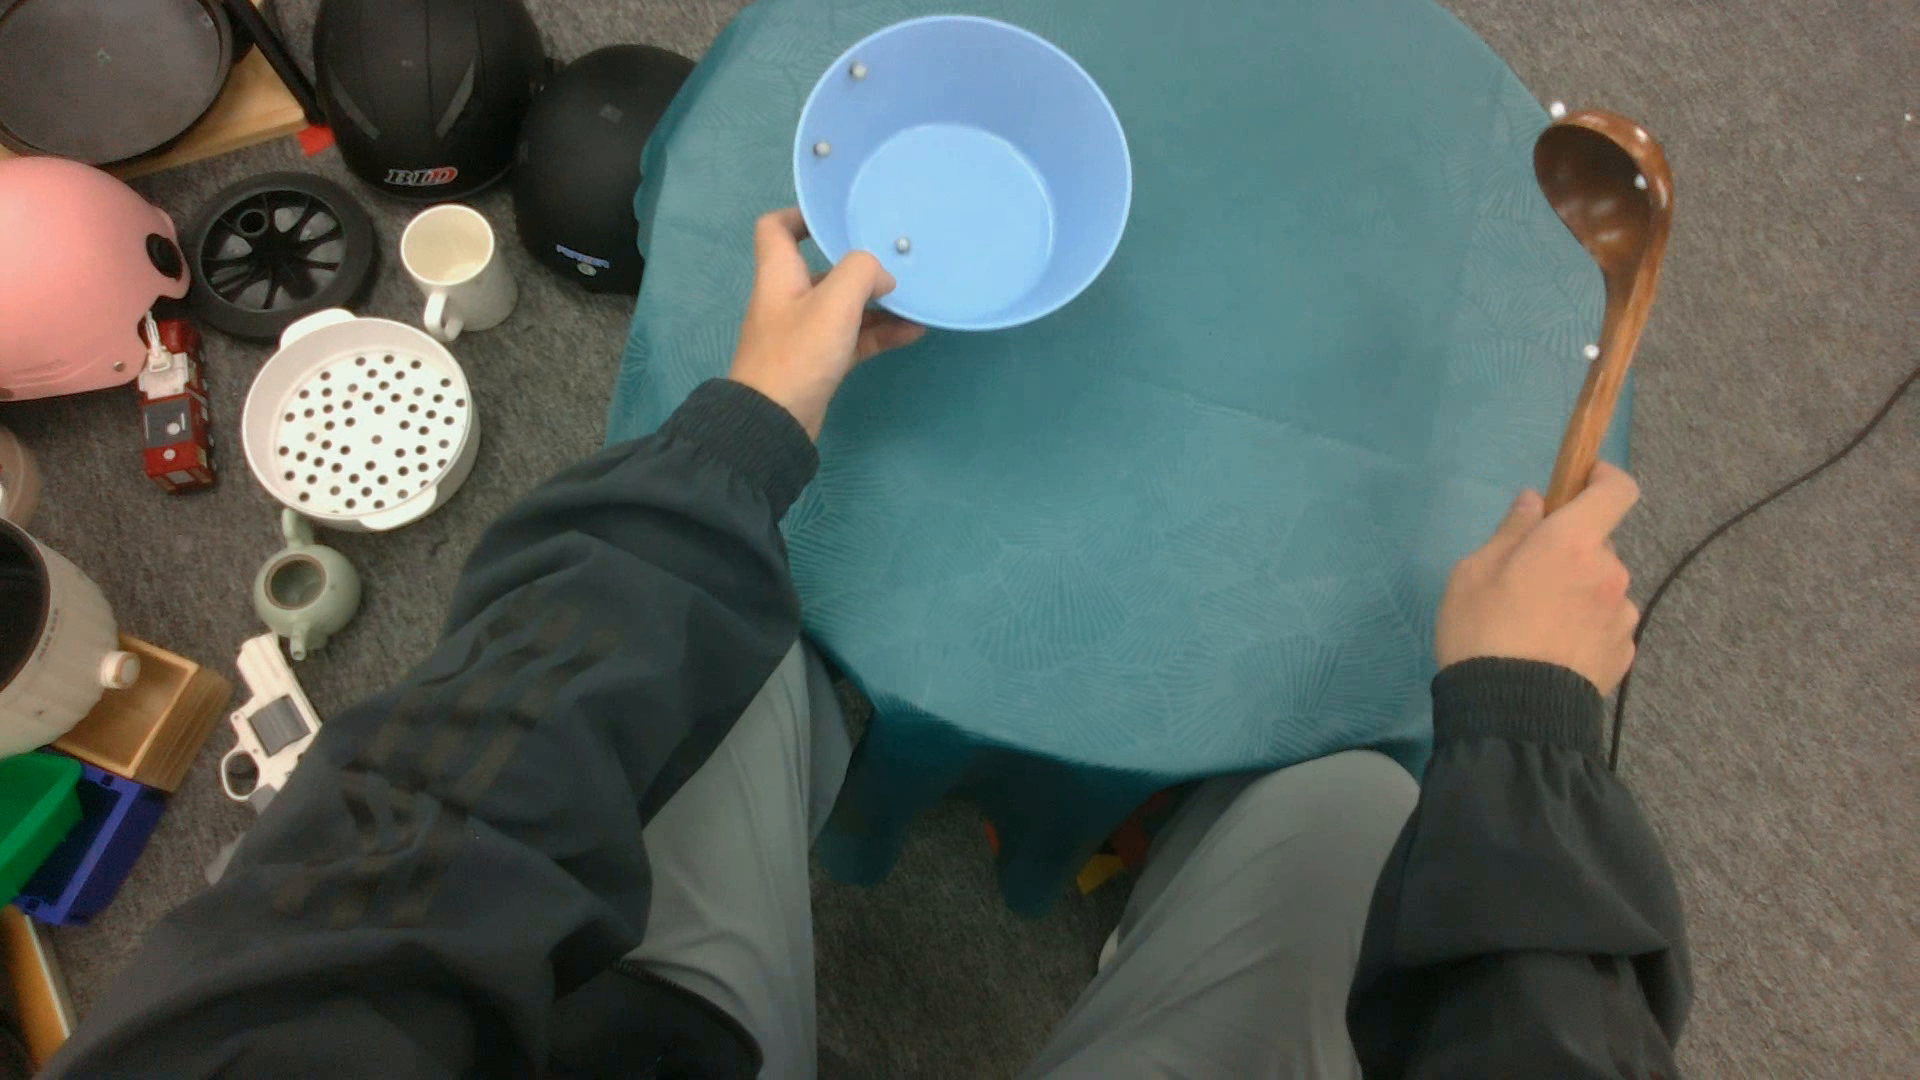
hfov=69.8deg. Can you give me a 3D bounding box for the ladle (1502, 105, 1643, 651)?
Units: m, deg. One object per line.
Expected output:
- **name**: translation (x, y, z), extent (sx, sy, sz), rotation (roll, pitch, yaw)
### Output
- **ladle**: translation (0.286, -0.085, 0.699), extent (0.076, 0.082, 0.274), rotation (16, 87, 8)

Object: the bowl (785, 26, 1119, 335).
- **bowl**: translation (-0.006, -0.183, 0.749), extent (0.176, 0.070, 0.176), rotation (2, 77, -7)
